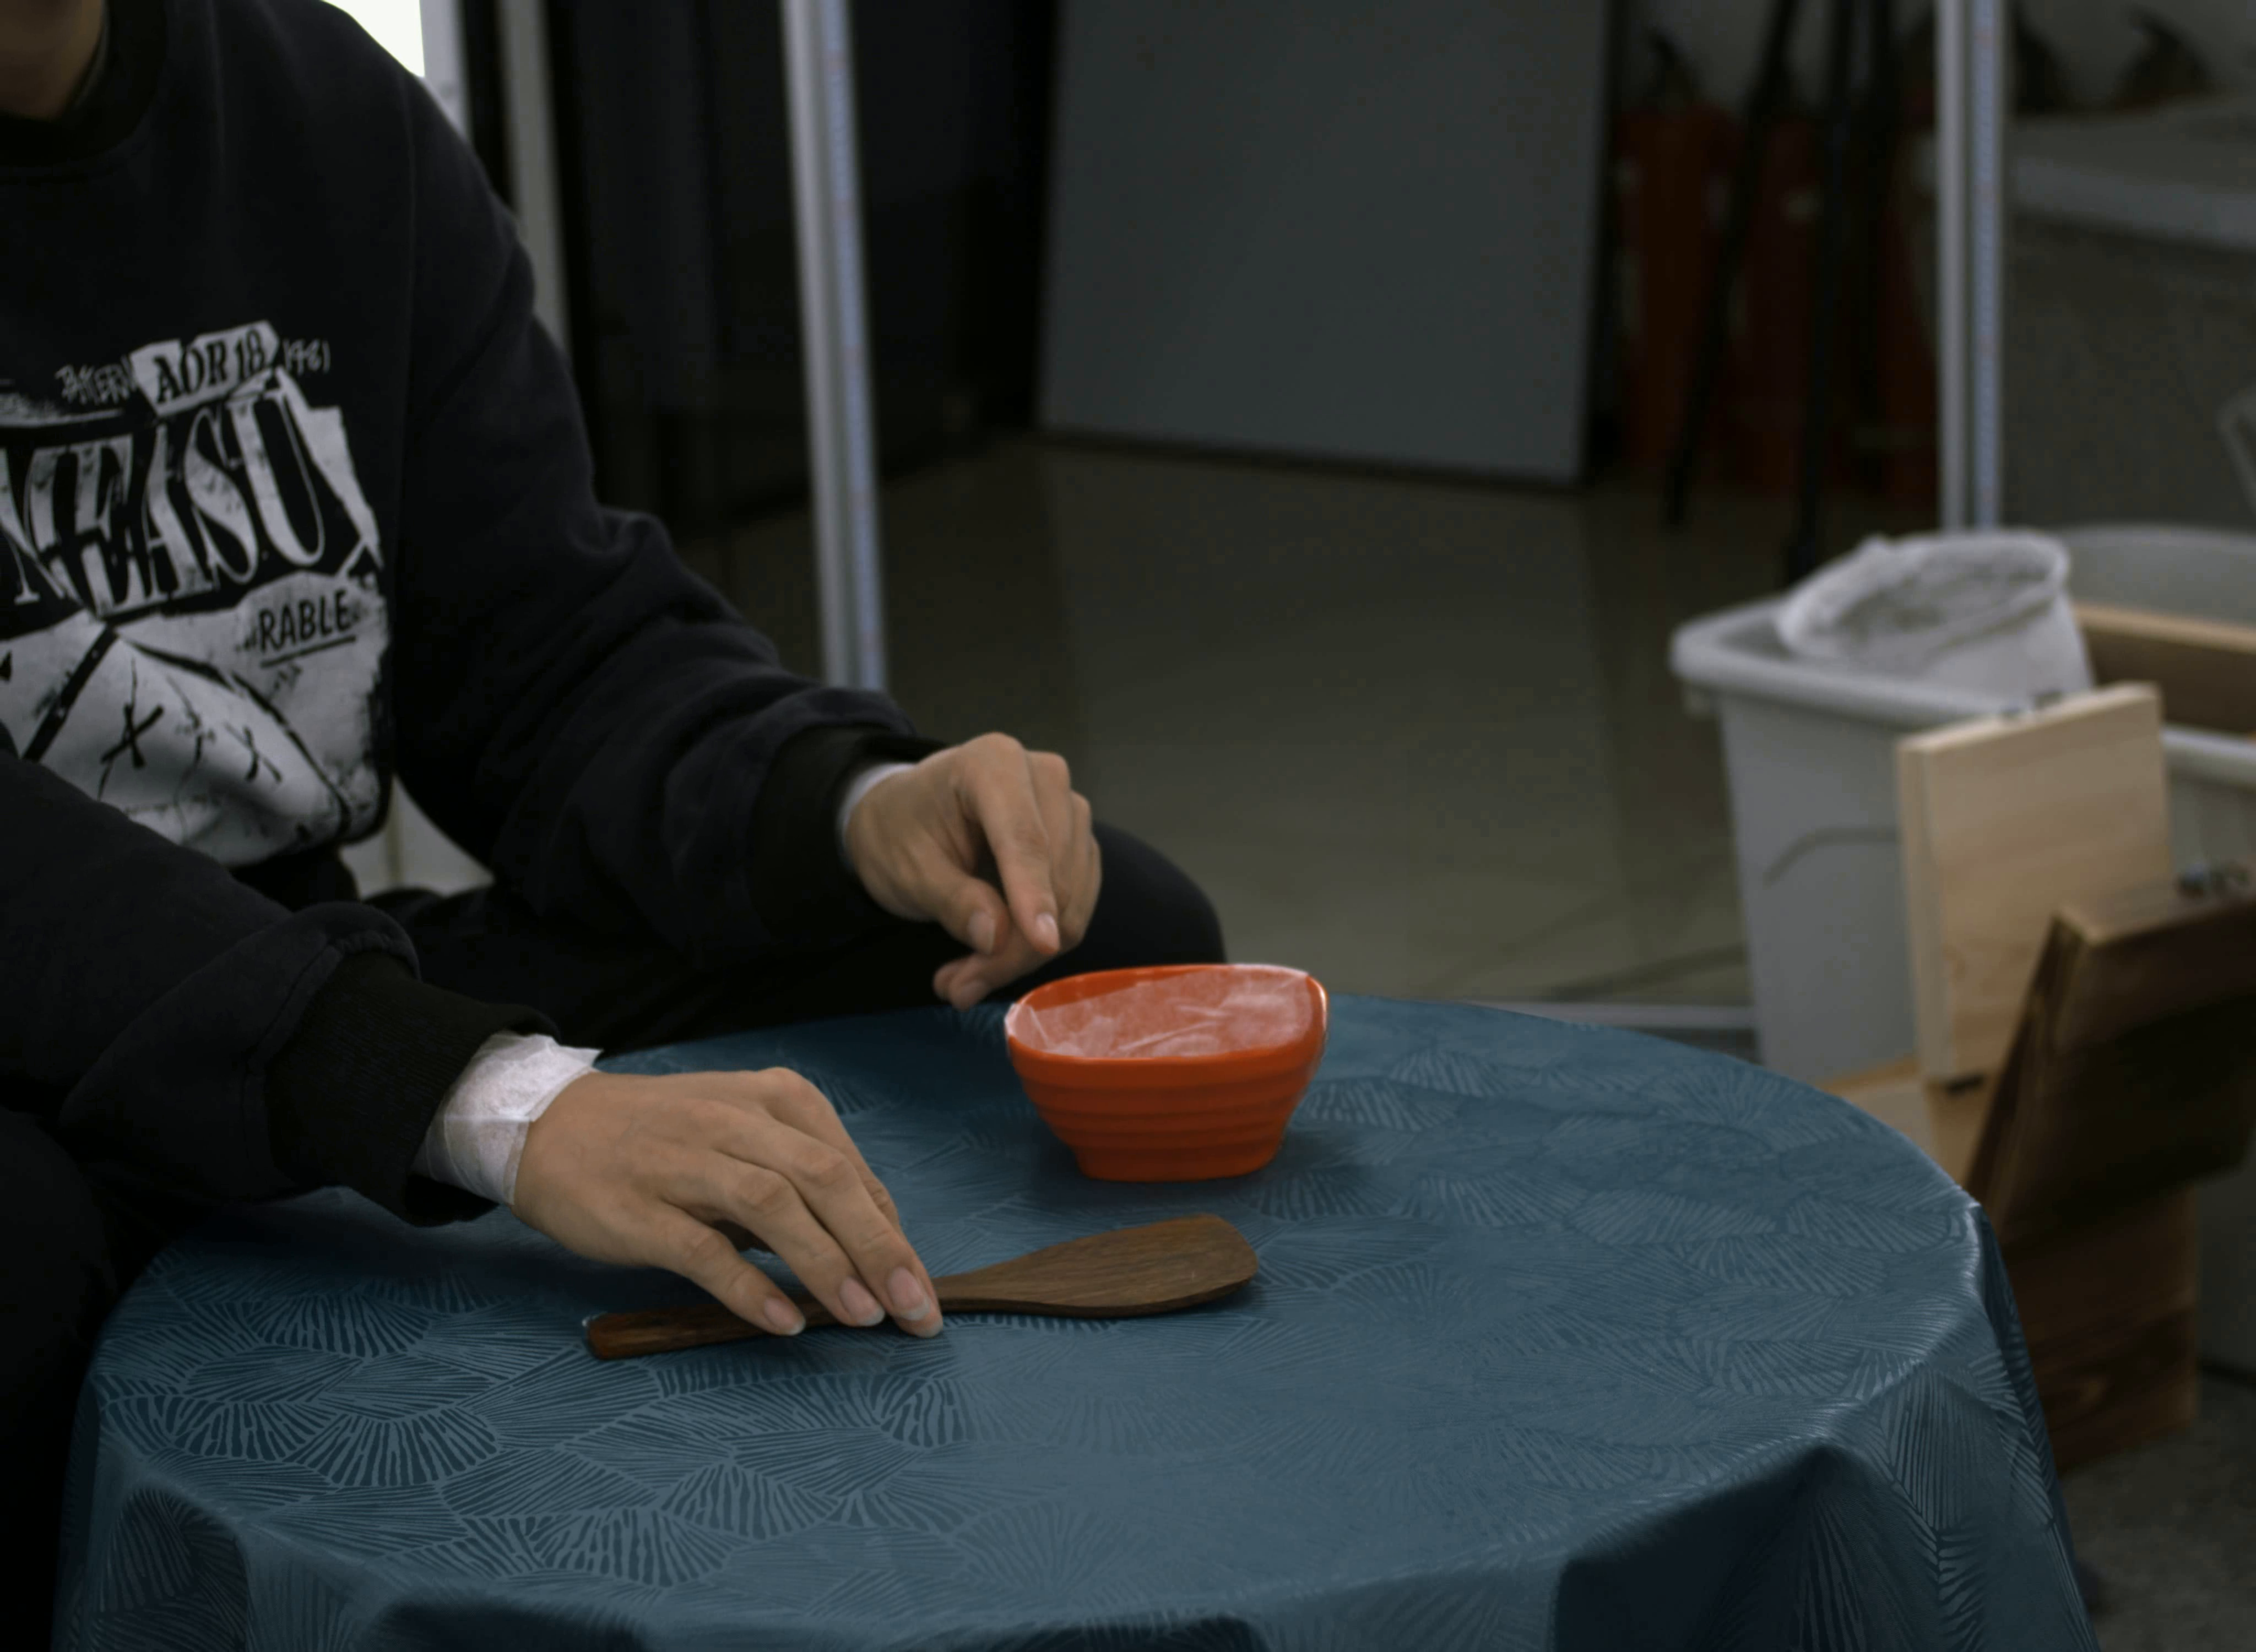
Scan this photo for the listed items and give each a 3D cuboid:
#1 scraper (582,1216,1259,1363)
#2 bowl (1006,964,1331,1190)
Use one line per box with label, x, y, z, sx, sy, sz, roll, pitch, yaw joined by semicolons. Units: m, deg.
scraper;-0.064;0.147;1.670;0.207;0.011;0.076;-7;13;-9
bowl;0.014;0.086;1.803;0.117;0.052;0.119;-3;16;0
